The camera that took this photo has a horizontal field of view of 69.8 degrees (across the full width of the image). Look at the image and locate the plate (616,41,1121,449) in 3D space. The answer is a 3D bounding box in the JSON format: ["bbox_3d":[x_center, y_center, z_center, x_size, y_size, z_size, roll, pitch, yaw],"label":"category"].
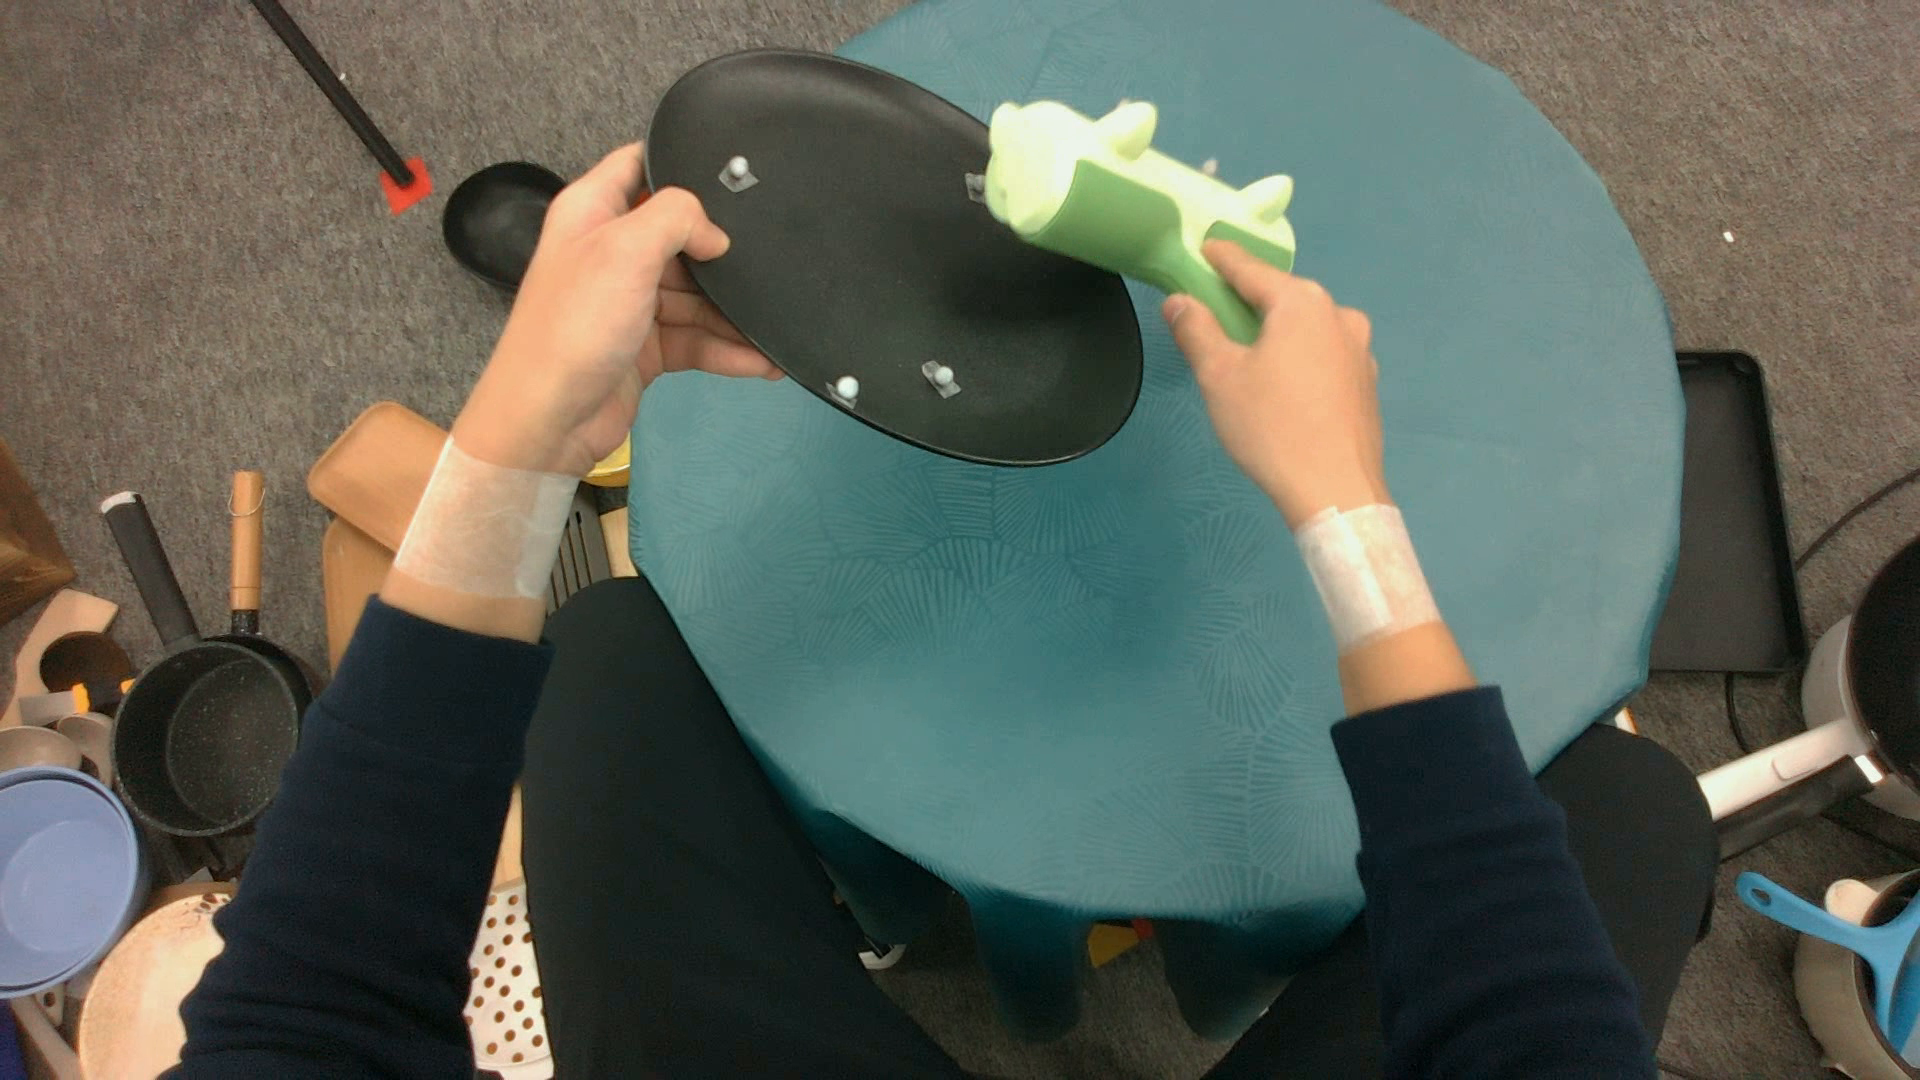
[{"bbox_3d":[-0.036,-0.131,0.612,0.244,0.023,0.245,20,45,-21],"label":"plate"}]

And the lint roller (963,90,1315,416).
[{"bbox_3d":[0.116,-0.138,0.645,0.183,0.199,0.082,47,118,35],"label":"lint roller"}]
